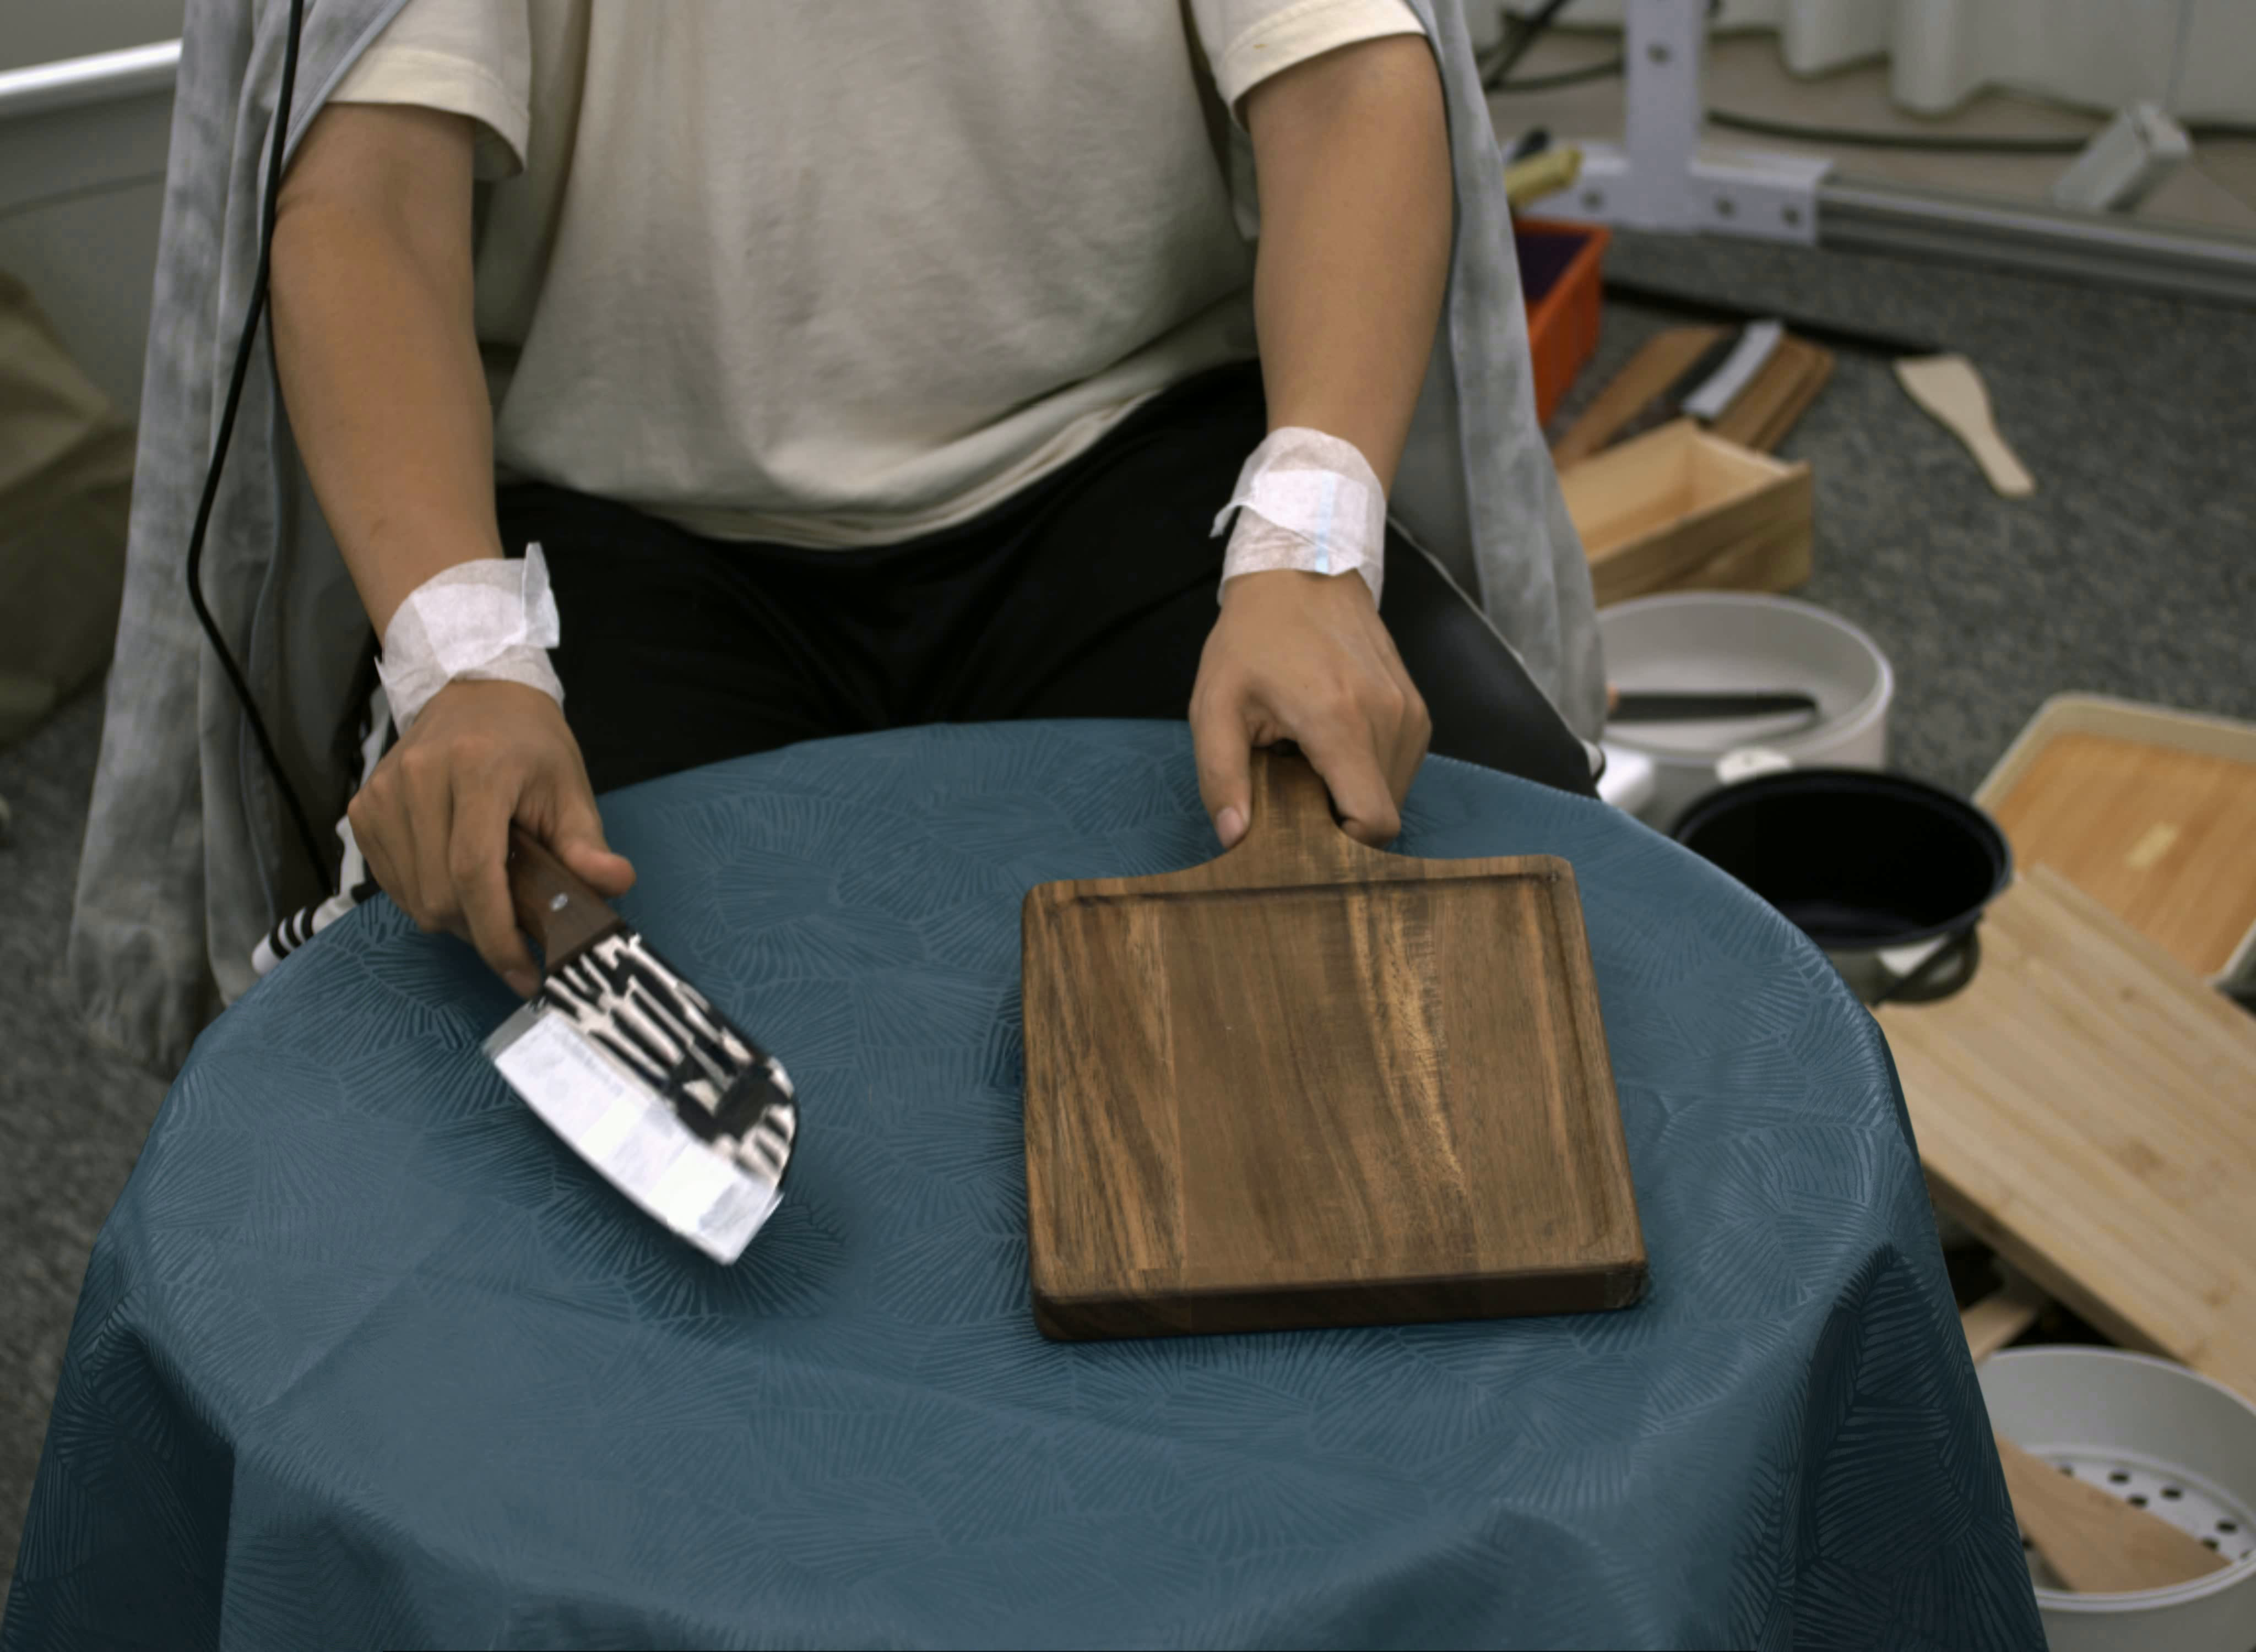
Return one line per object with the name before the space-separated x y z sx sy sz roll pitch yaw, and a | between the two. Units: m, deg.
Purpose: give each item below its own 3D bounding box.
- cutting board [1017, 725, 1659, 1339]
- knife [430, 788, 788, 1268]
cutting board | 0.063 0.060 1.926 0.200 0.023 0.358 -3 30 -1
knife | -0.185 0.066 1.907 0.068 0.024 0.301 -39 38 -9
